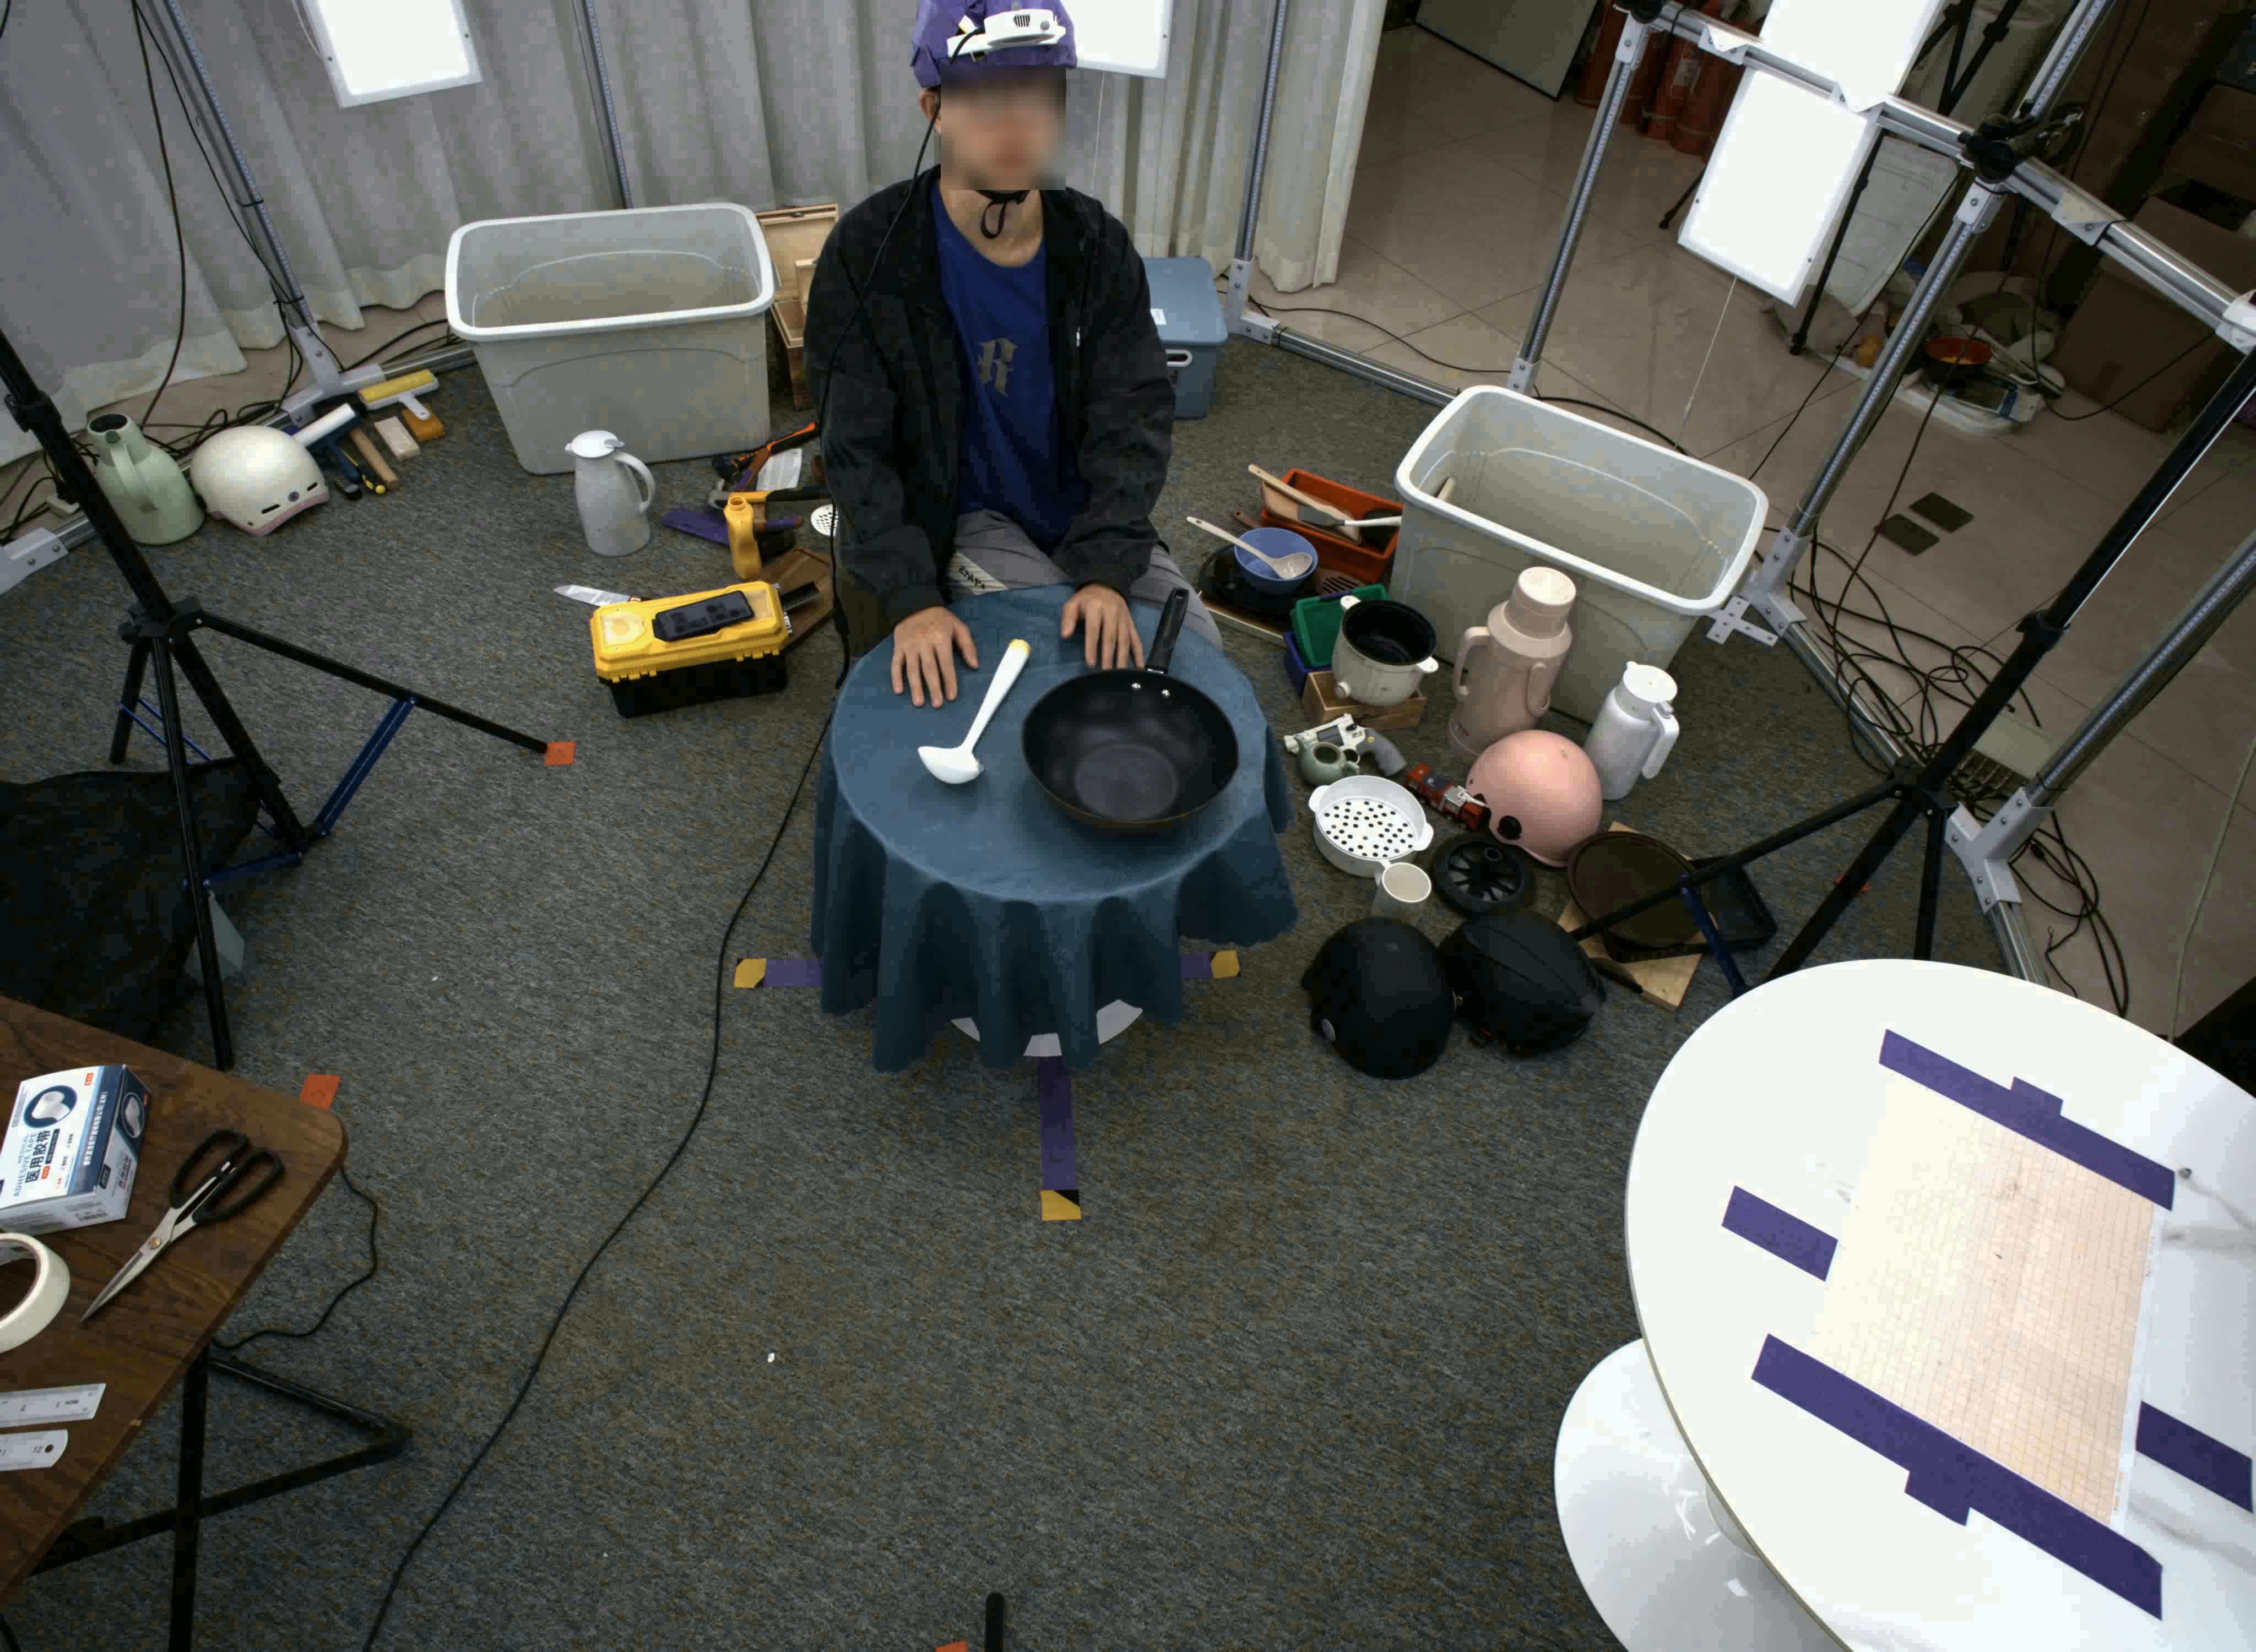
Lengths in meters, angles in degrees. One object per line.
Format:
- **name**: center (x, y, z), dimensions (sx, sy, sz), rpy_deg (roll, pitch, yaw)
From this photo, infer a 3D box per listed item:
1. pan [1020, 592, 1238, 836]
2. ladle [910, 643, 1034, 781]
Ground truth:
- **pan**: center (0.021, -0.152, 1.753), dimensions (0.288, 0.085, 0.473), rpy_deg (13, 49, 6)
- **ladle**: center (-0.200, -0.166, 1.763), dimensions (0.090, 0.068, 0.299), rpy_deg (16, 49, 13)
